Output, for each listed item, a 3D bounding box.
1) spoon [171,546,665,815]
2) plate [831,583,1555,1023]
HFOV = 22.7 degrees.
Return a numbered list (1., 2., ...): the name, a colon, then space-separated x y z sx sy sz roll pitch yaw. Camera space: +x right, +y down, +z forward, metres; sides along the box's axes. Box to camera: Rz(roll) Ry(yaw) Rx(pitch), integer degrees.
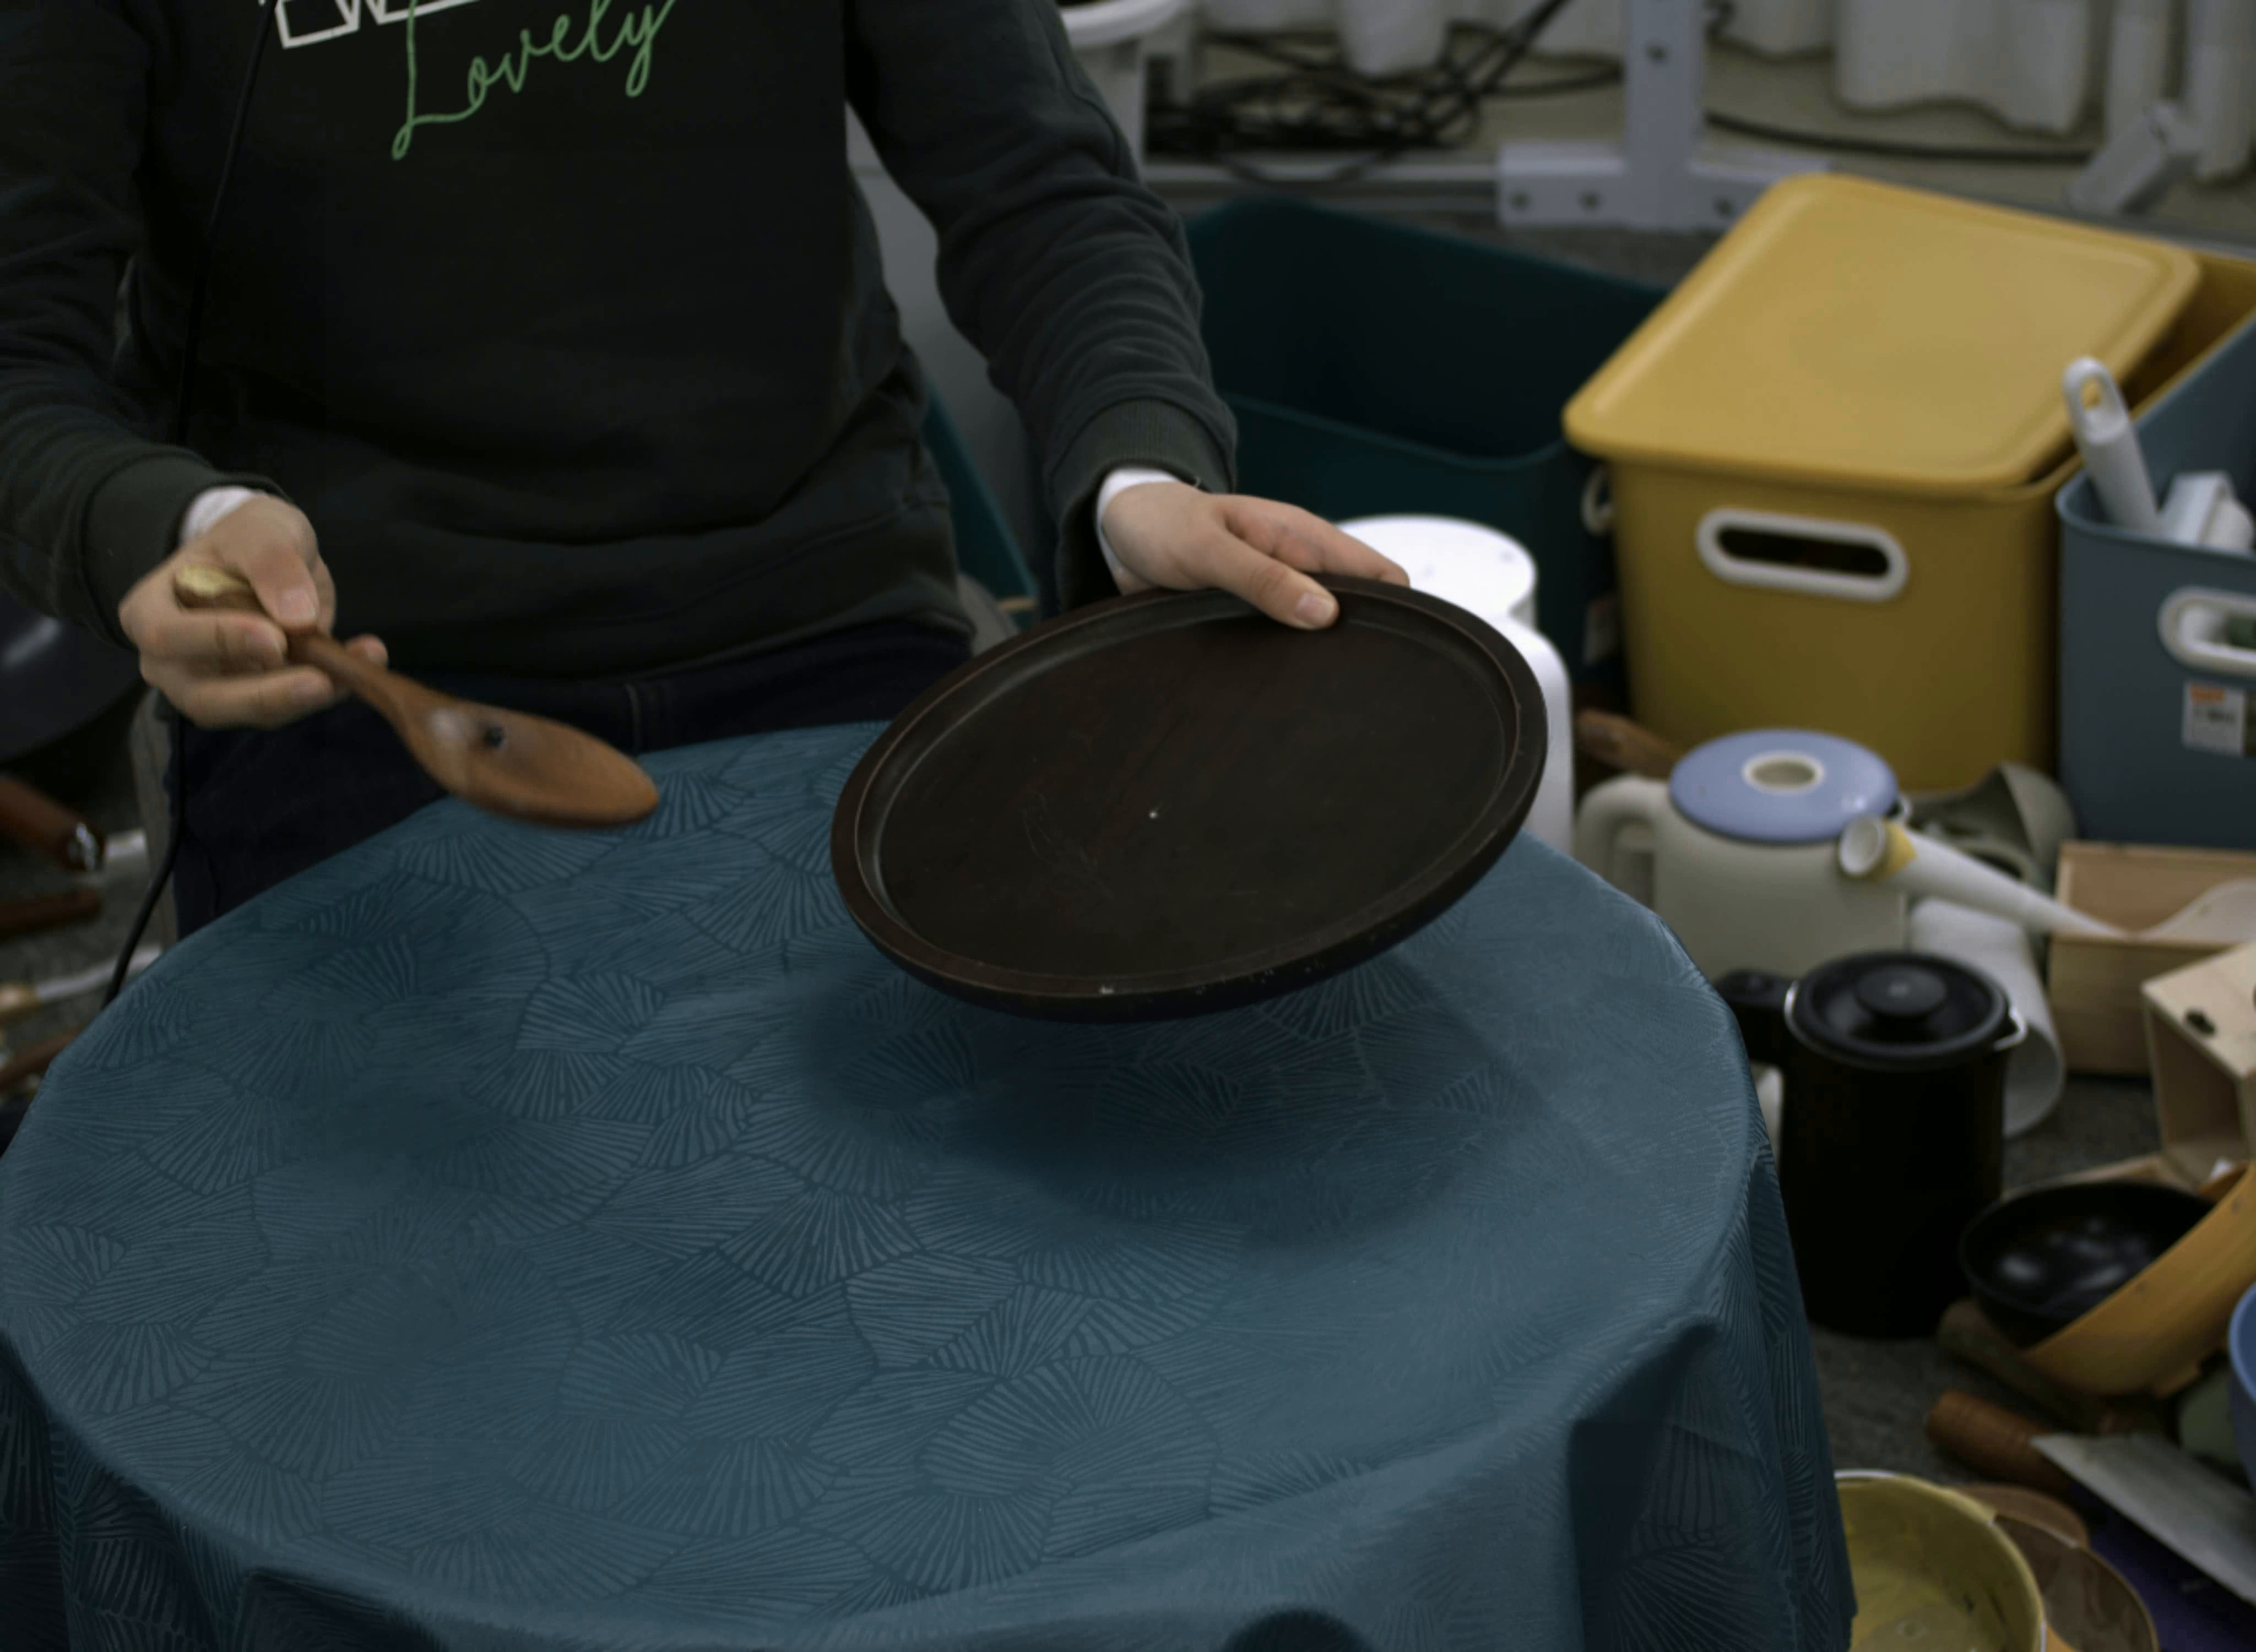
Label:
1. spoon: -0.240 -0.046 1.860 0.216 0.017 0.076 28 23 32
2. plate: 0.023 -0.010 1.937 0.253 0.028 0.259 -9 33 6
